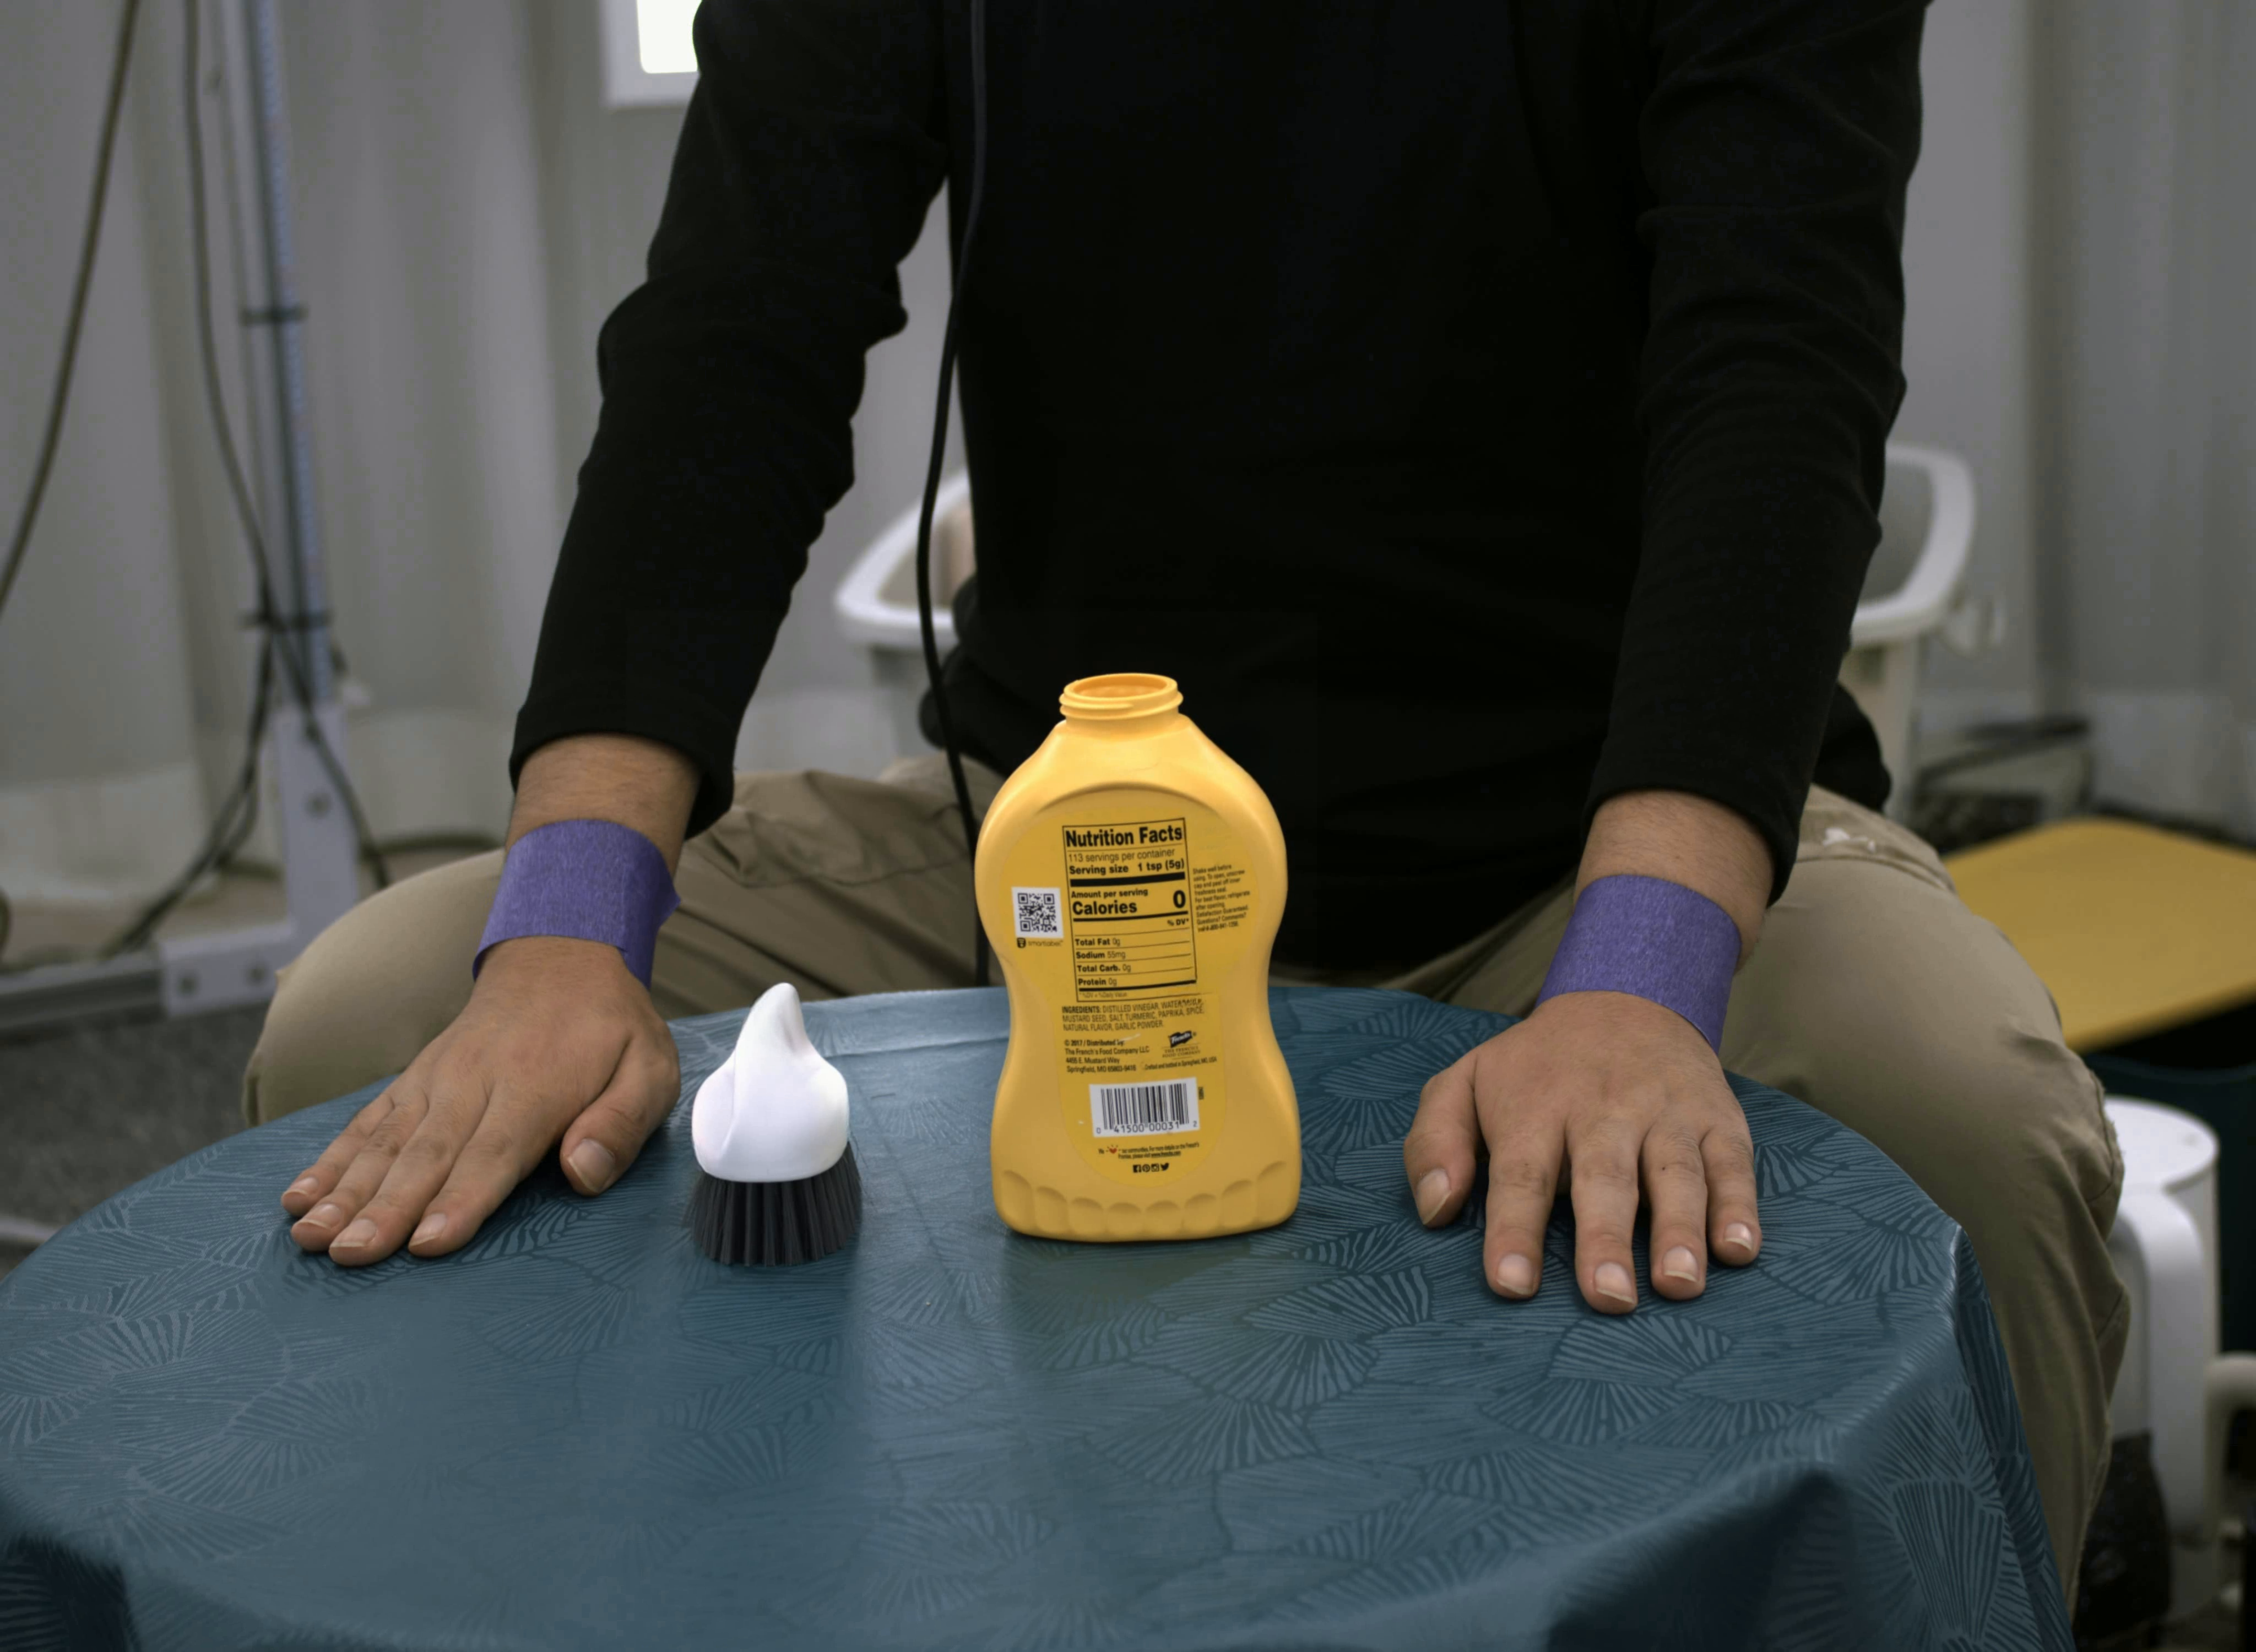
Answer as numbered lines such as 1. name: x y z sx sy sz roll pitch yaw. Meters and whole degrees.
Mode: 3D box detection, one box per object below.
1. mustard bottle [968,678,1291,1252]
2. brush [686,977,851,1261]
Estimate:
1. mustard bottle: -0.001 0.041 1.668 0.098 0.171 0.059 -4 9 0
2. brush: -0.113 0.086 1.701 0.050 0.072 0.100 -1 16 1
